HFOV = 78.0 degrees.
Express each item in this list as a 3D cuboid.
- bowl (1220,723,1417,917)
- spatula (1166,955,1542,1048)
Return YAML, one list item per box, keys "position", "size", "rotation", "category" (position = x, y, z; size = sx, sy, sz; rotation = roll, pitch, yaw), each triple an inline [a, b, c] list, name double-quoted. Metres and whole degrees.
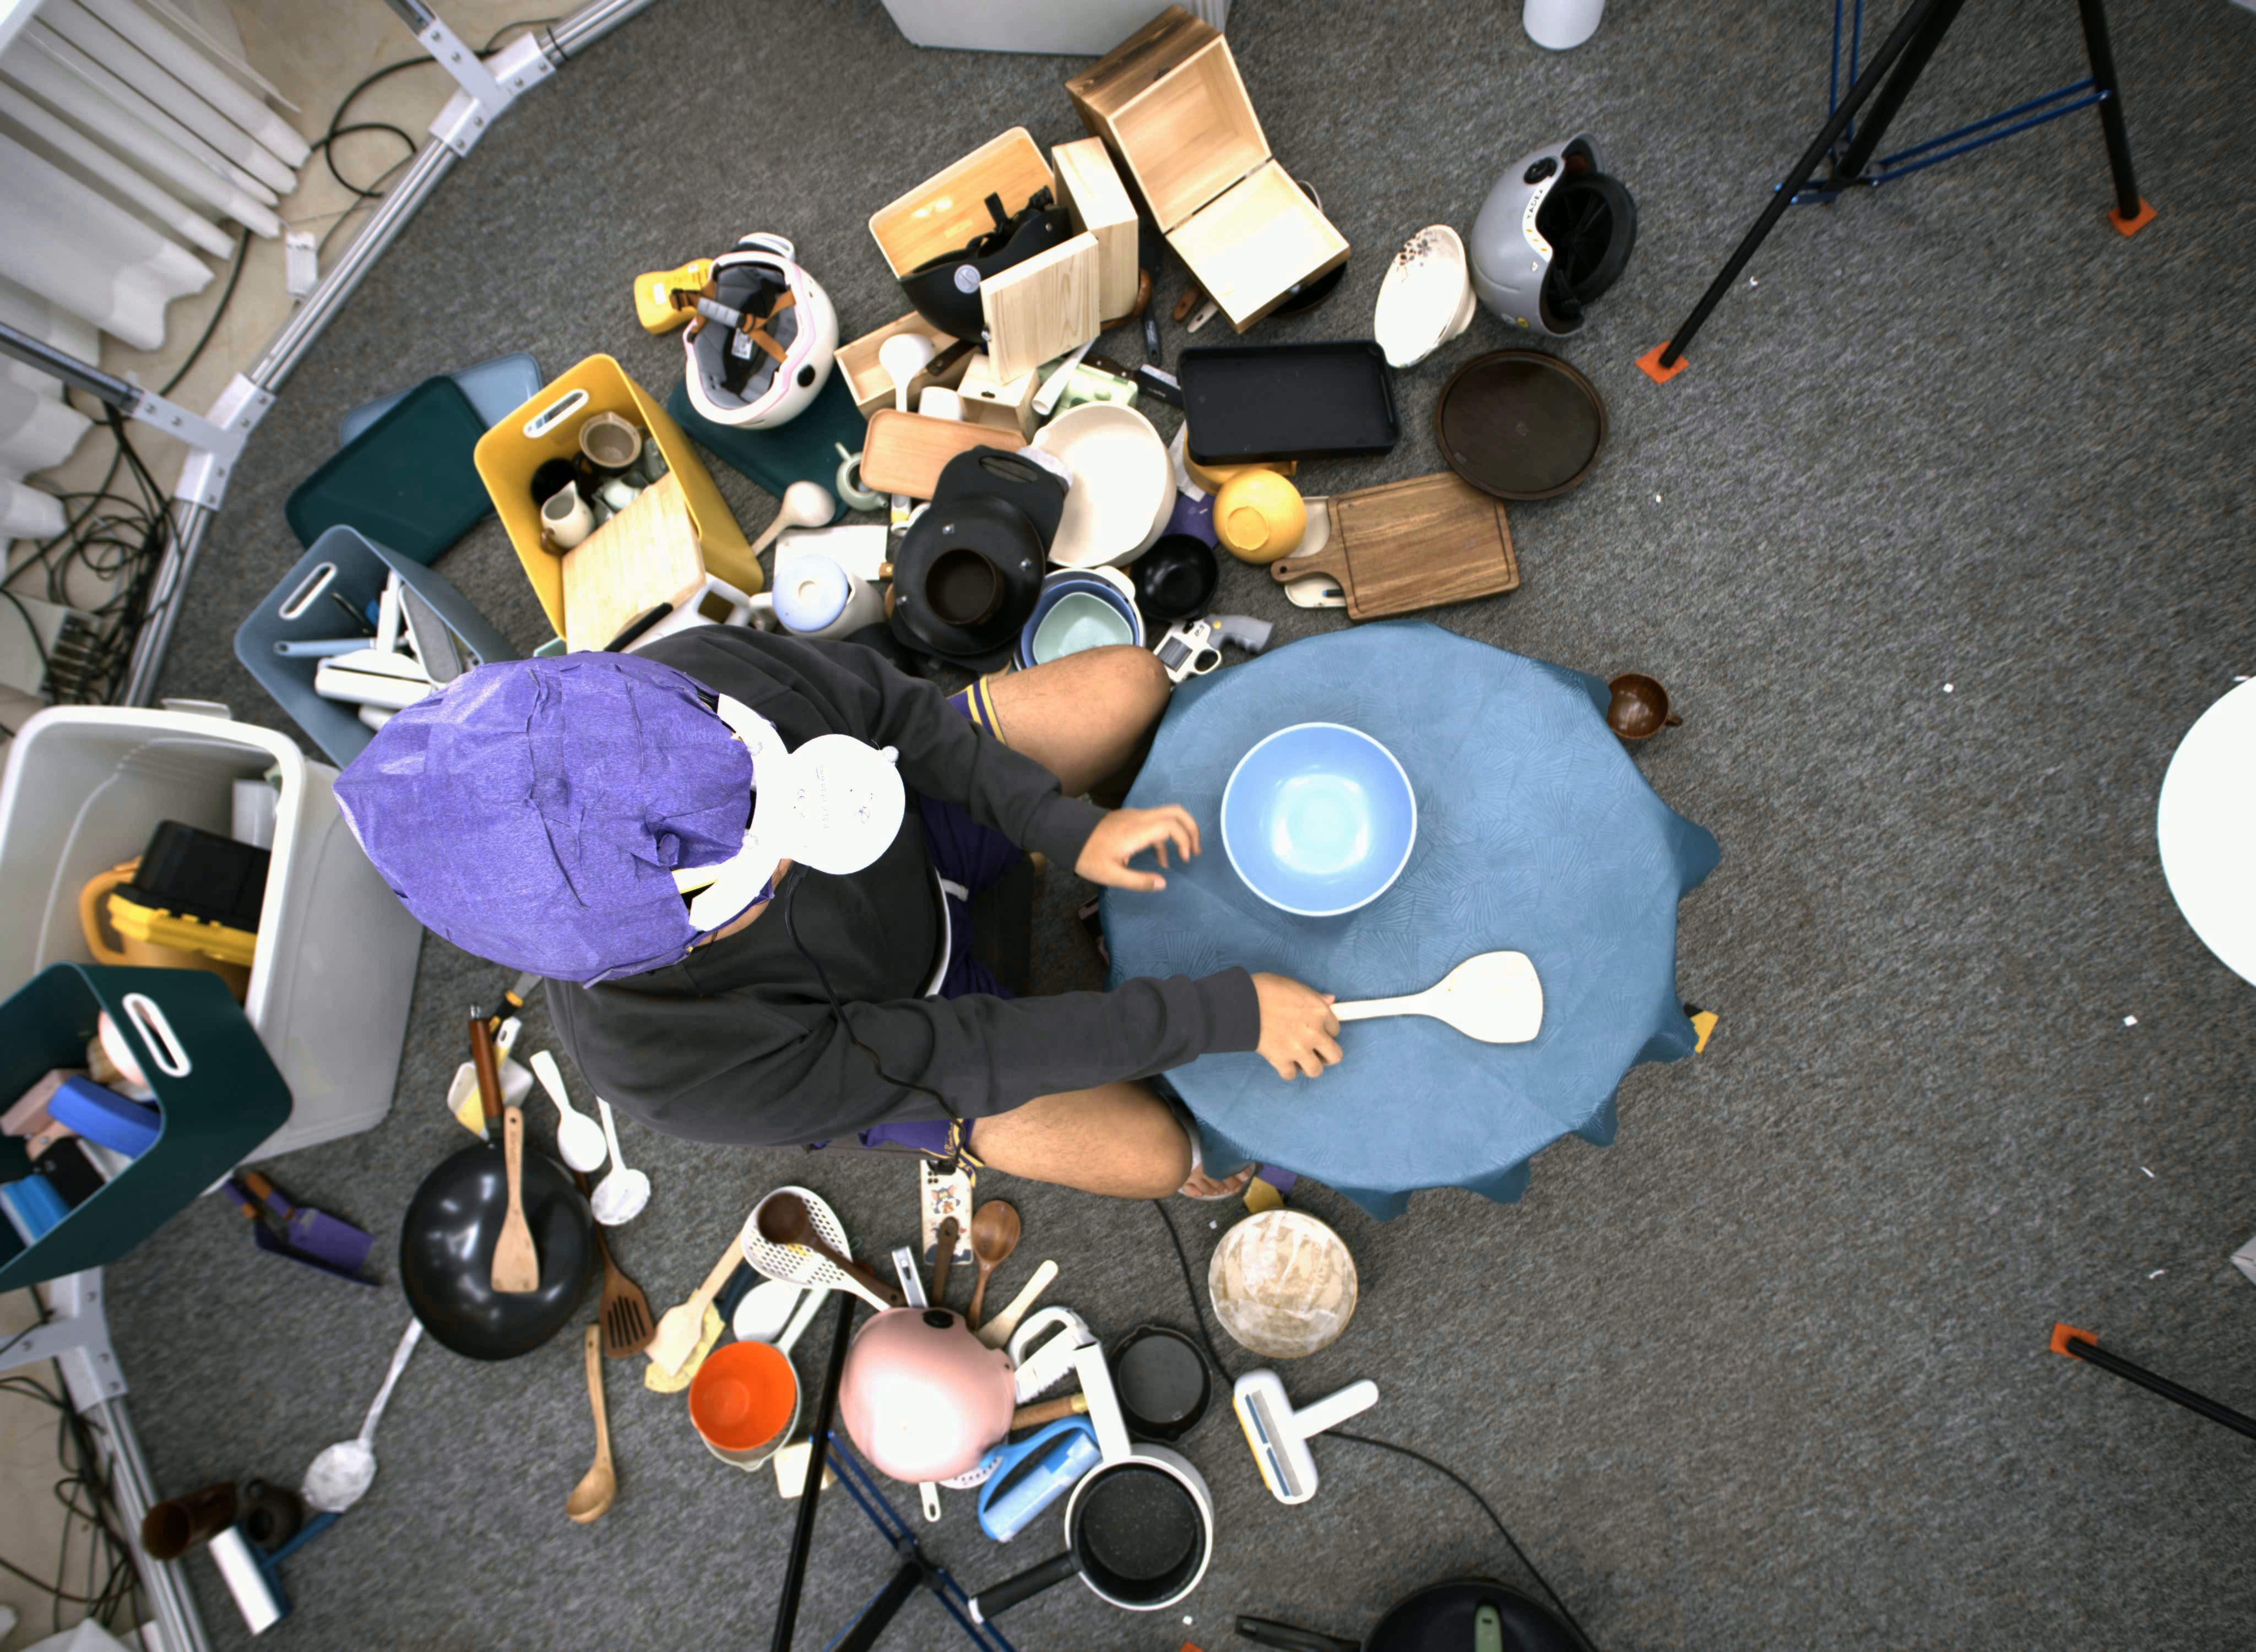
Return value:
- position: [0.196, -0.004, 1.431]
  size: [0.197, 0.095, 0.196]
  rotation: [0, 88, 8]
  category: "bowl"
- position: [0.233, 0.197, 1.446]
  size: [0.392, 0.018, 0.095]
  rotation: [-7, 81, 8]
  category: "spatula"
